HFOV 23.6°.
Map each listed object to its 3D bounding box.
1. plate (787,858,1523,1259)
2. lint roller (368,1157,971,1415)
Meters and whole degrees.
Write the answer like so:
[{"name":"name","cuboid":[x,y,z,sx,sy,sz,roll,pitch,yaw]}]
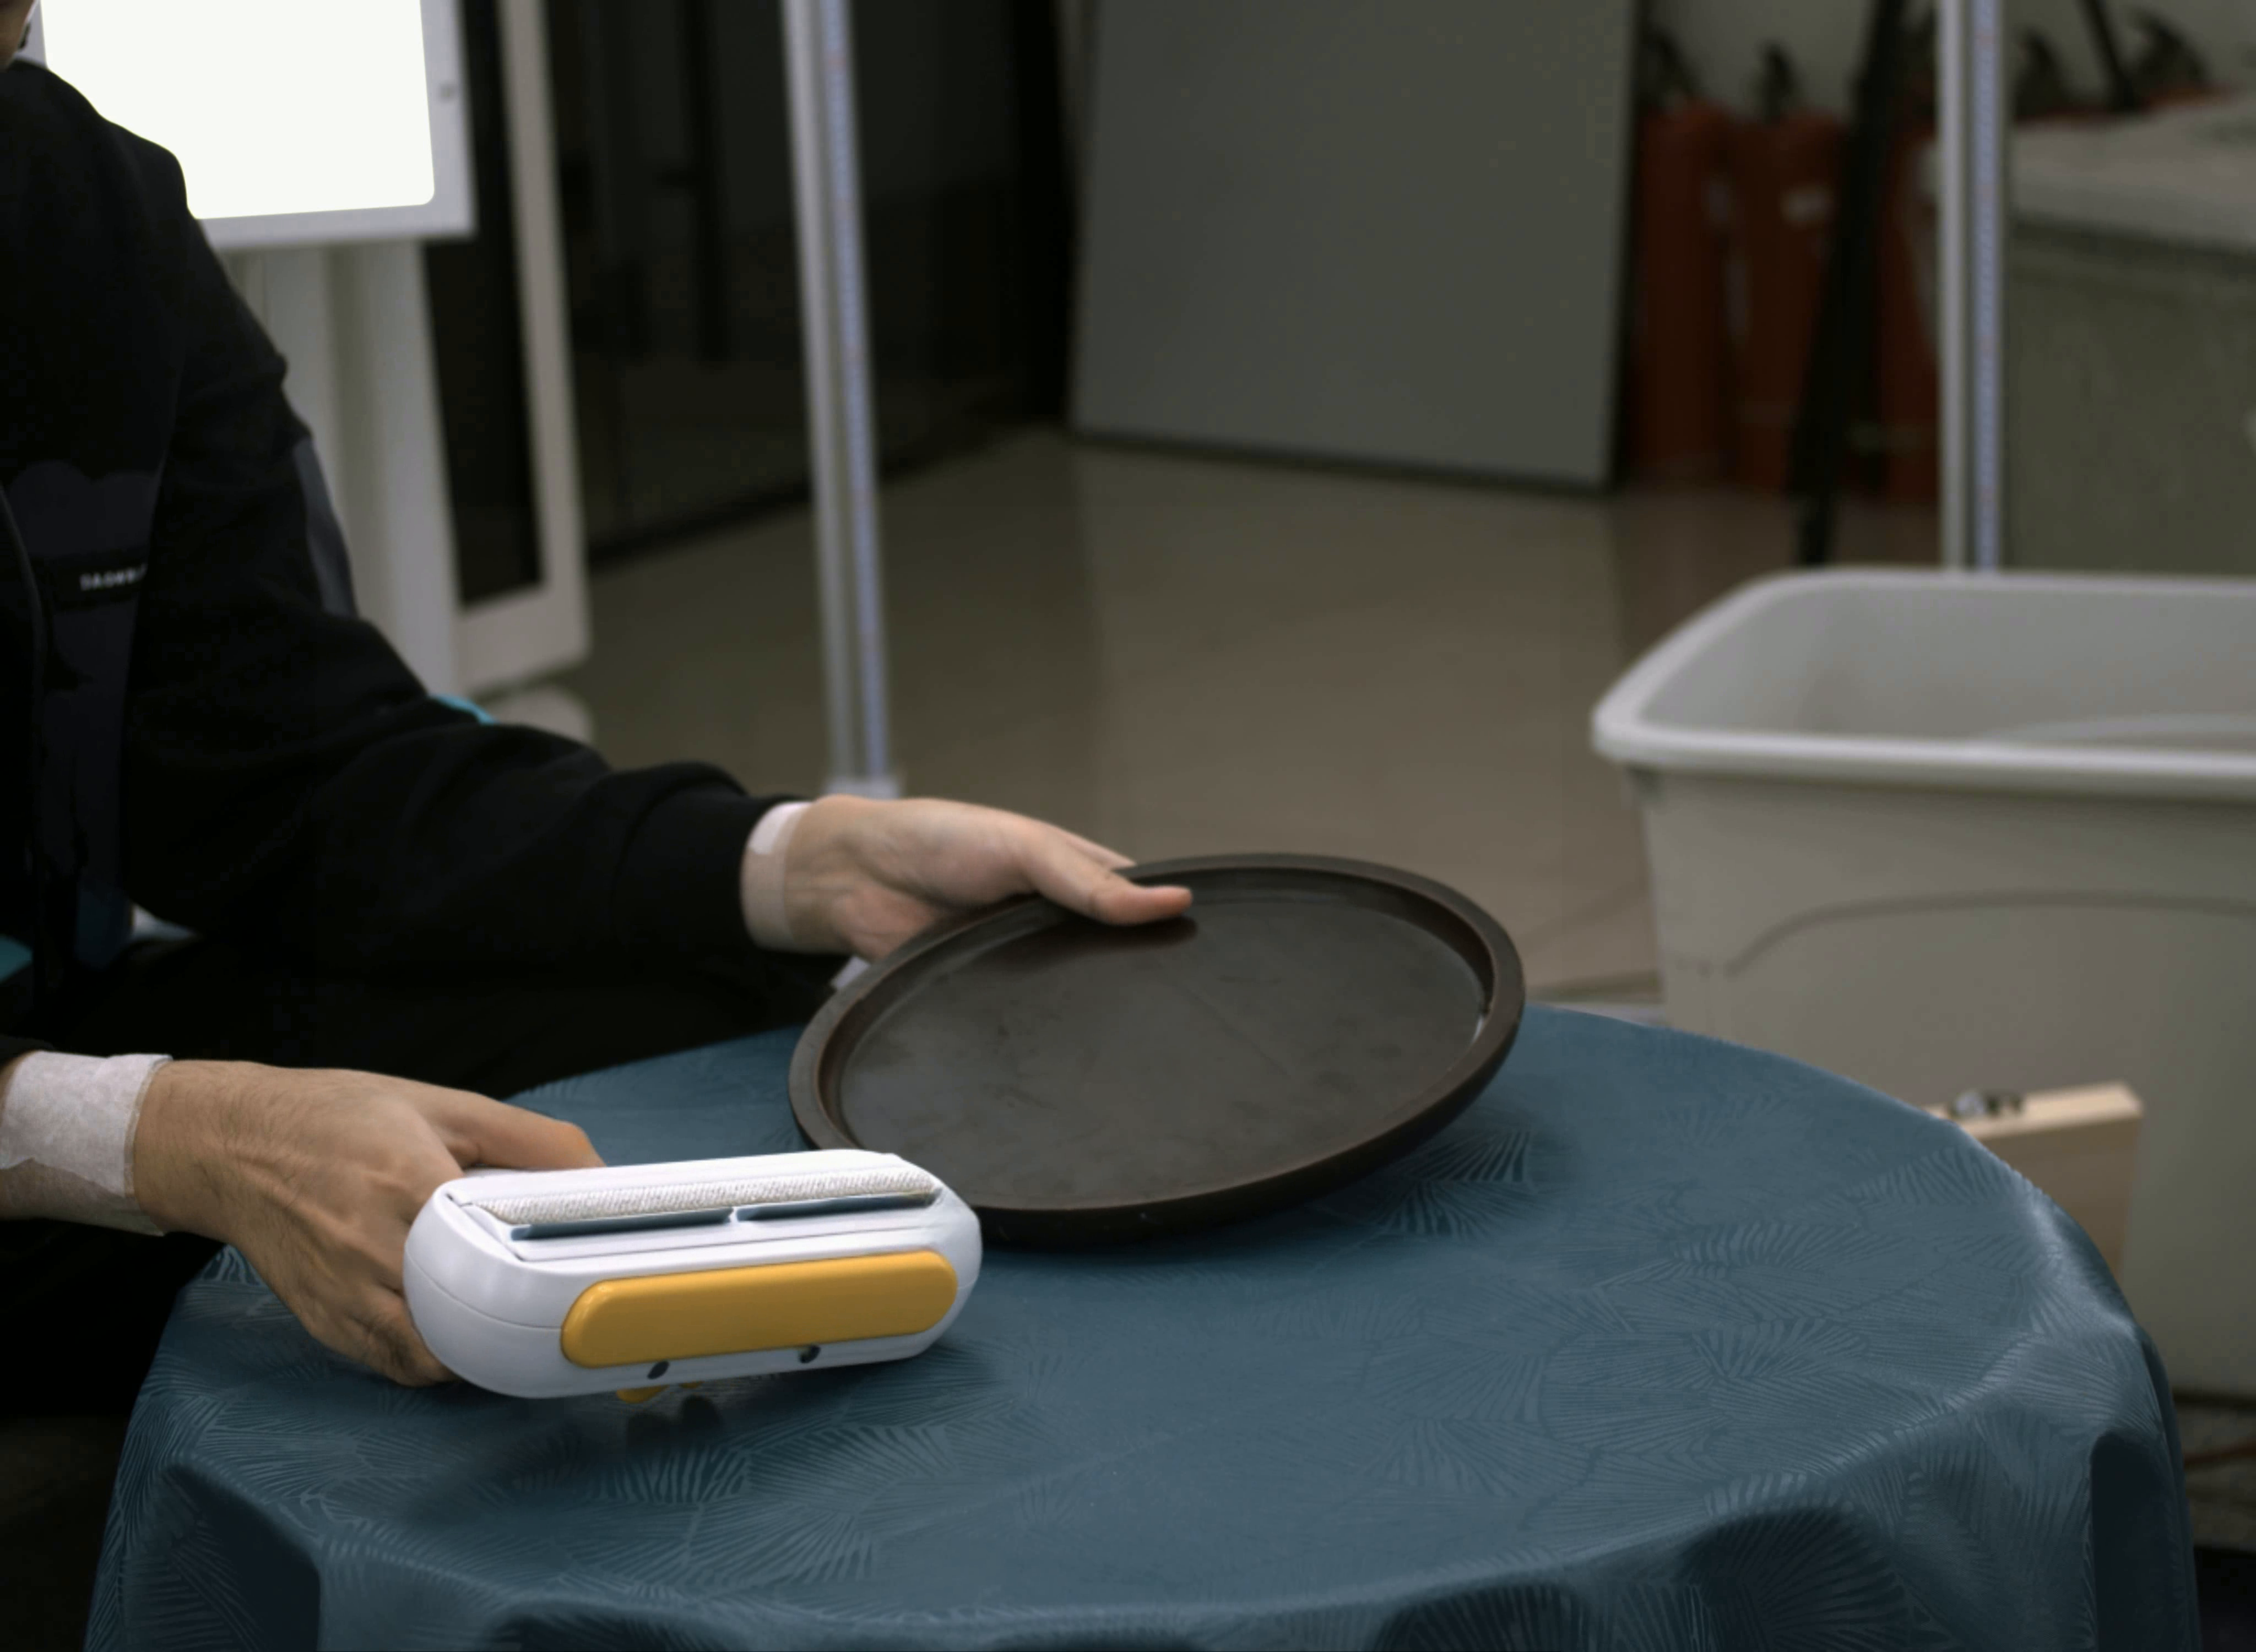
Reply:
[{"name":"plate","cuboid":[0.010,0.076,1.811,0.252,0.029,0.255,-11,24,4]},{"name":"lint roller","cuboid":[-0.167,0.123,1.636,0.188,0.075,0.194,-5,18,-36]}]
